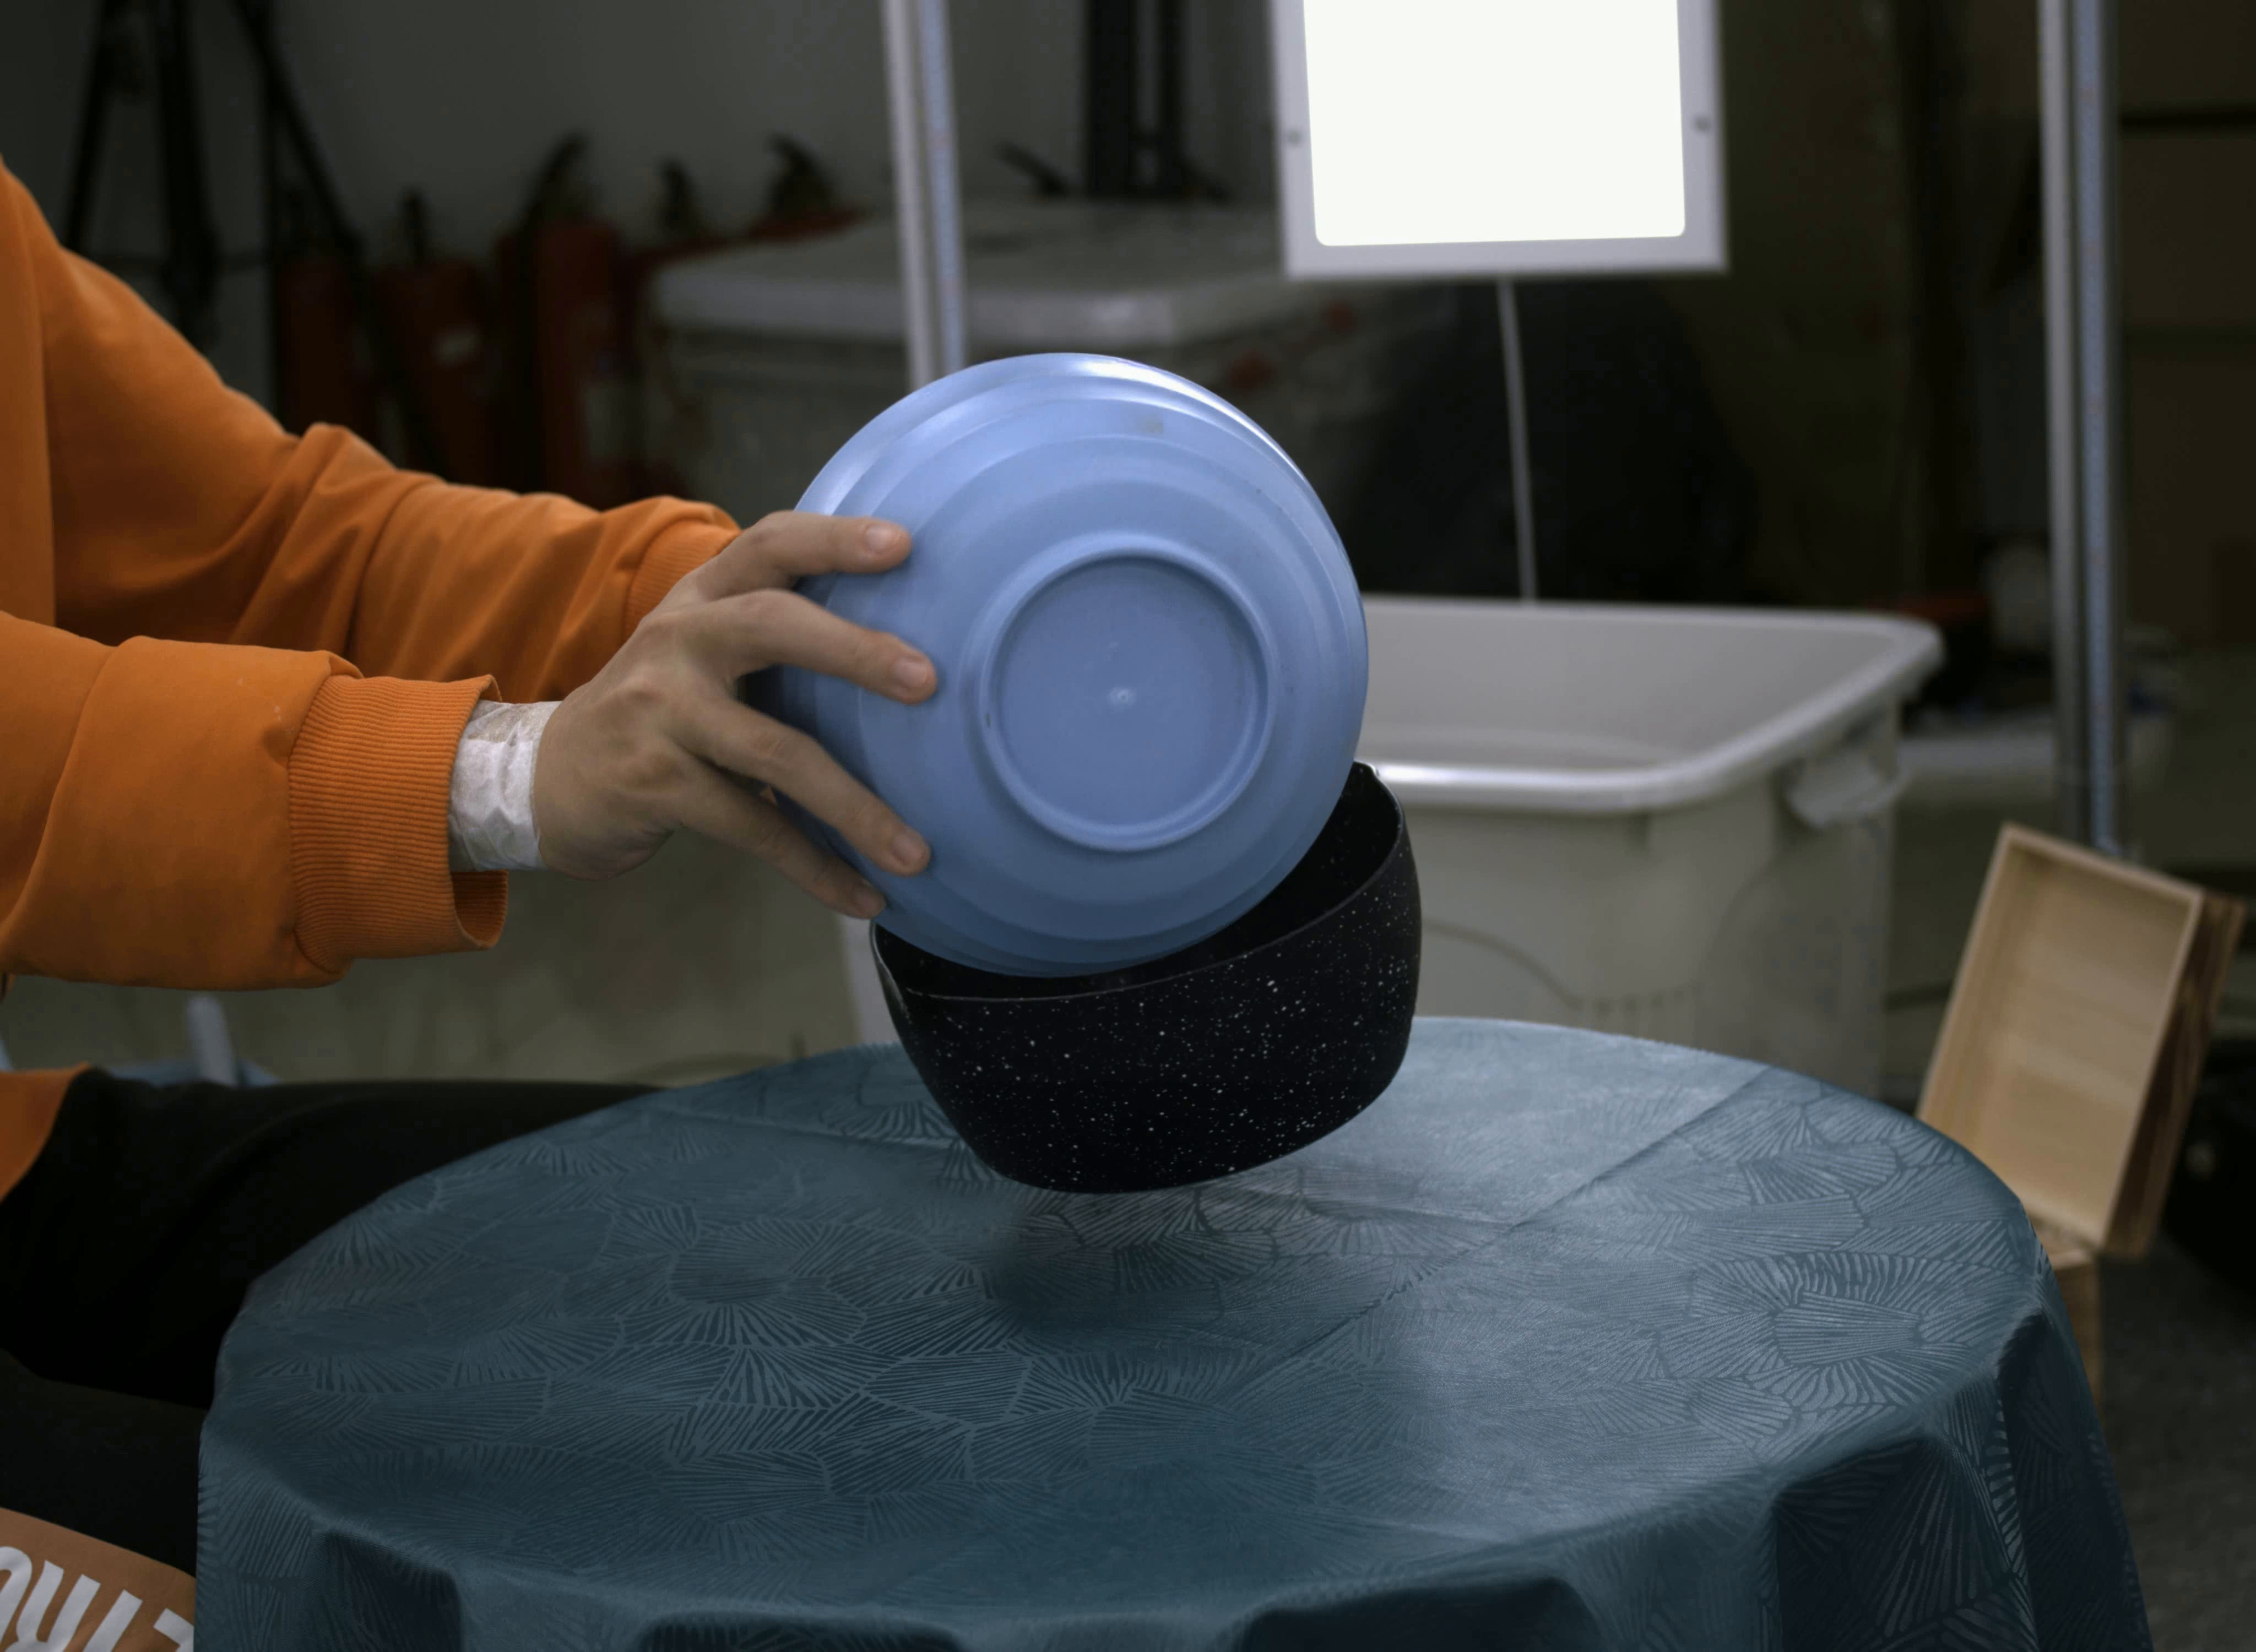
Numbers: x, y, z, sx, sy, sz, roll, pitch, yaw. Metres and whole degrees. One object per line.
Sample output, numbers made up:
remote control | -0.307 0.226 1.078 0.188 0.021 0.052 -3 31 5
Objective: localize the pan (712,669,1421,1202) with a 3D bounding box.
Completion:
pan | -0.039 0.027 1.908 0.203 0.108 0.349 -29 27 -28

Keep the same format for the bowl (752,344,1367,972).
bowl | -0.010 -0.046 1.672 0.194 0.197 0.096 -7 9 -11
